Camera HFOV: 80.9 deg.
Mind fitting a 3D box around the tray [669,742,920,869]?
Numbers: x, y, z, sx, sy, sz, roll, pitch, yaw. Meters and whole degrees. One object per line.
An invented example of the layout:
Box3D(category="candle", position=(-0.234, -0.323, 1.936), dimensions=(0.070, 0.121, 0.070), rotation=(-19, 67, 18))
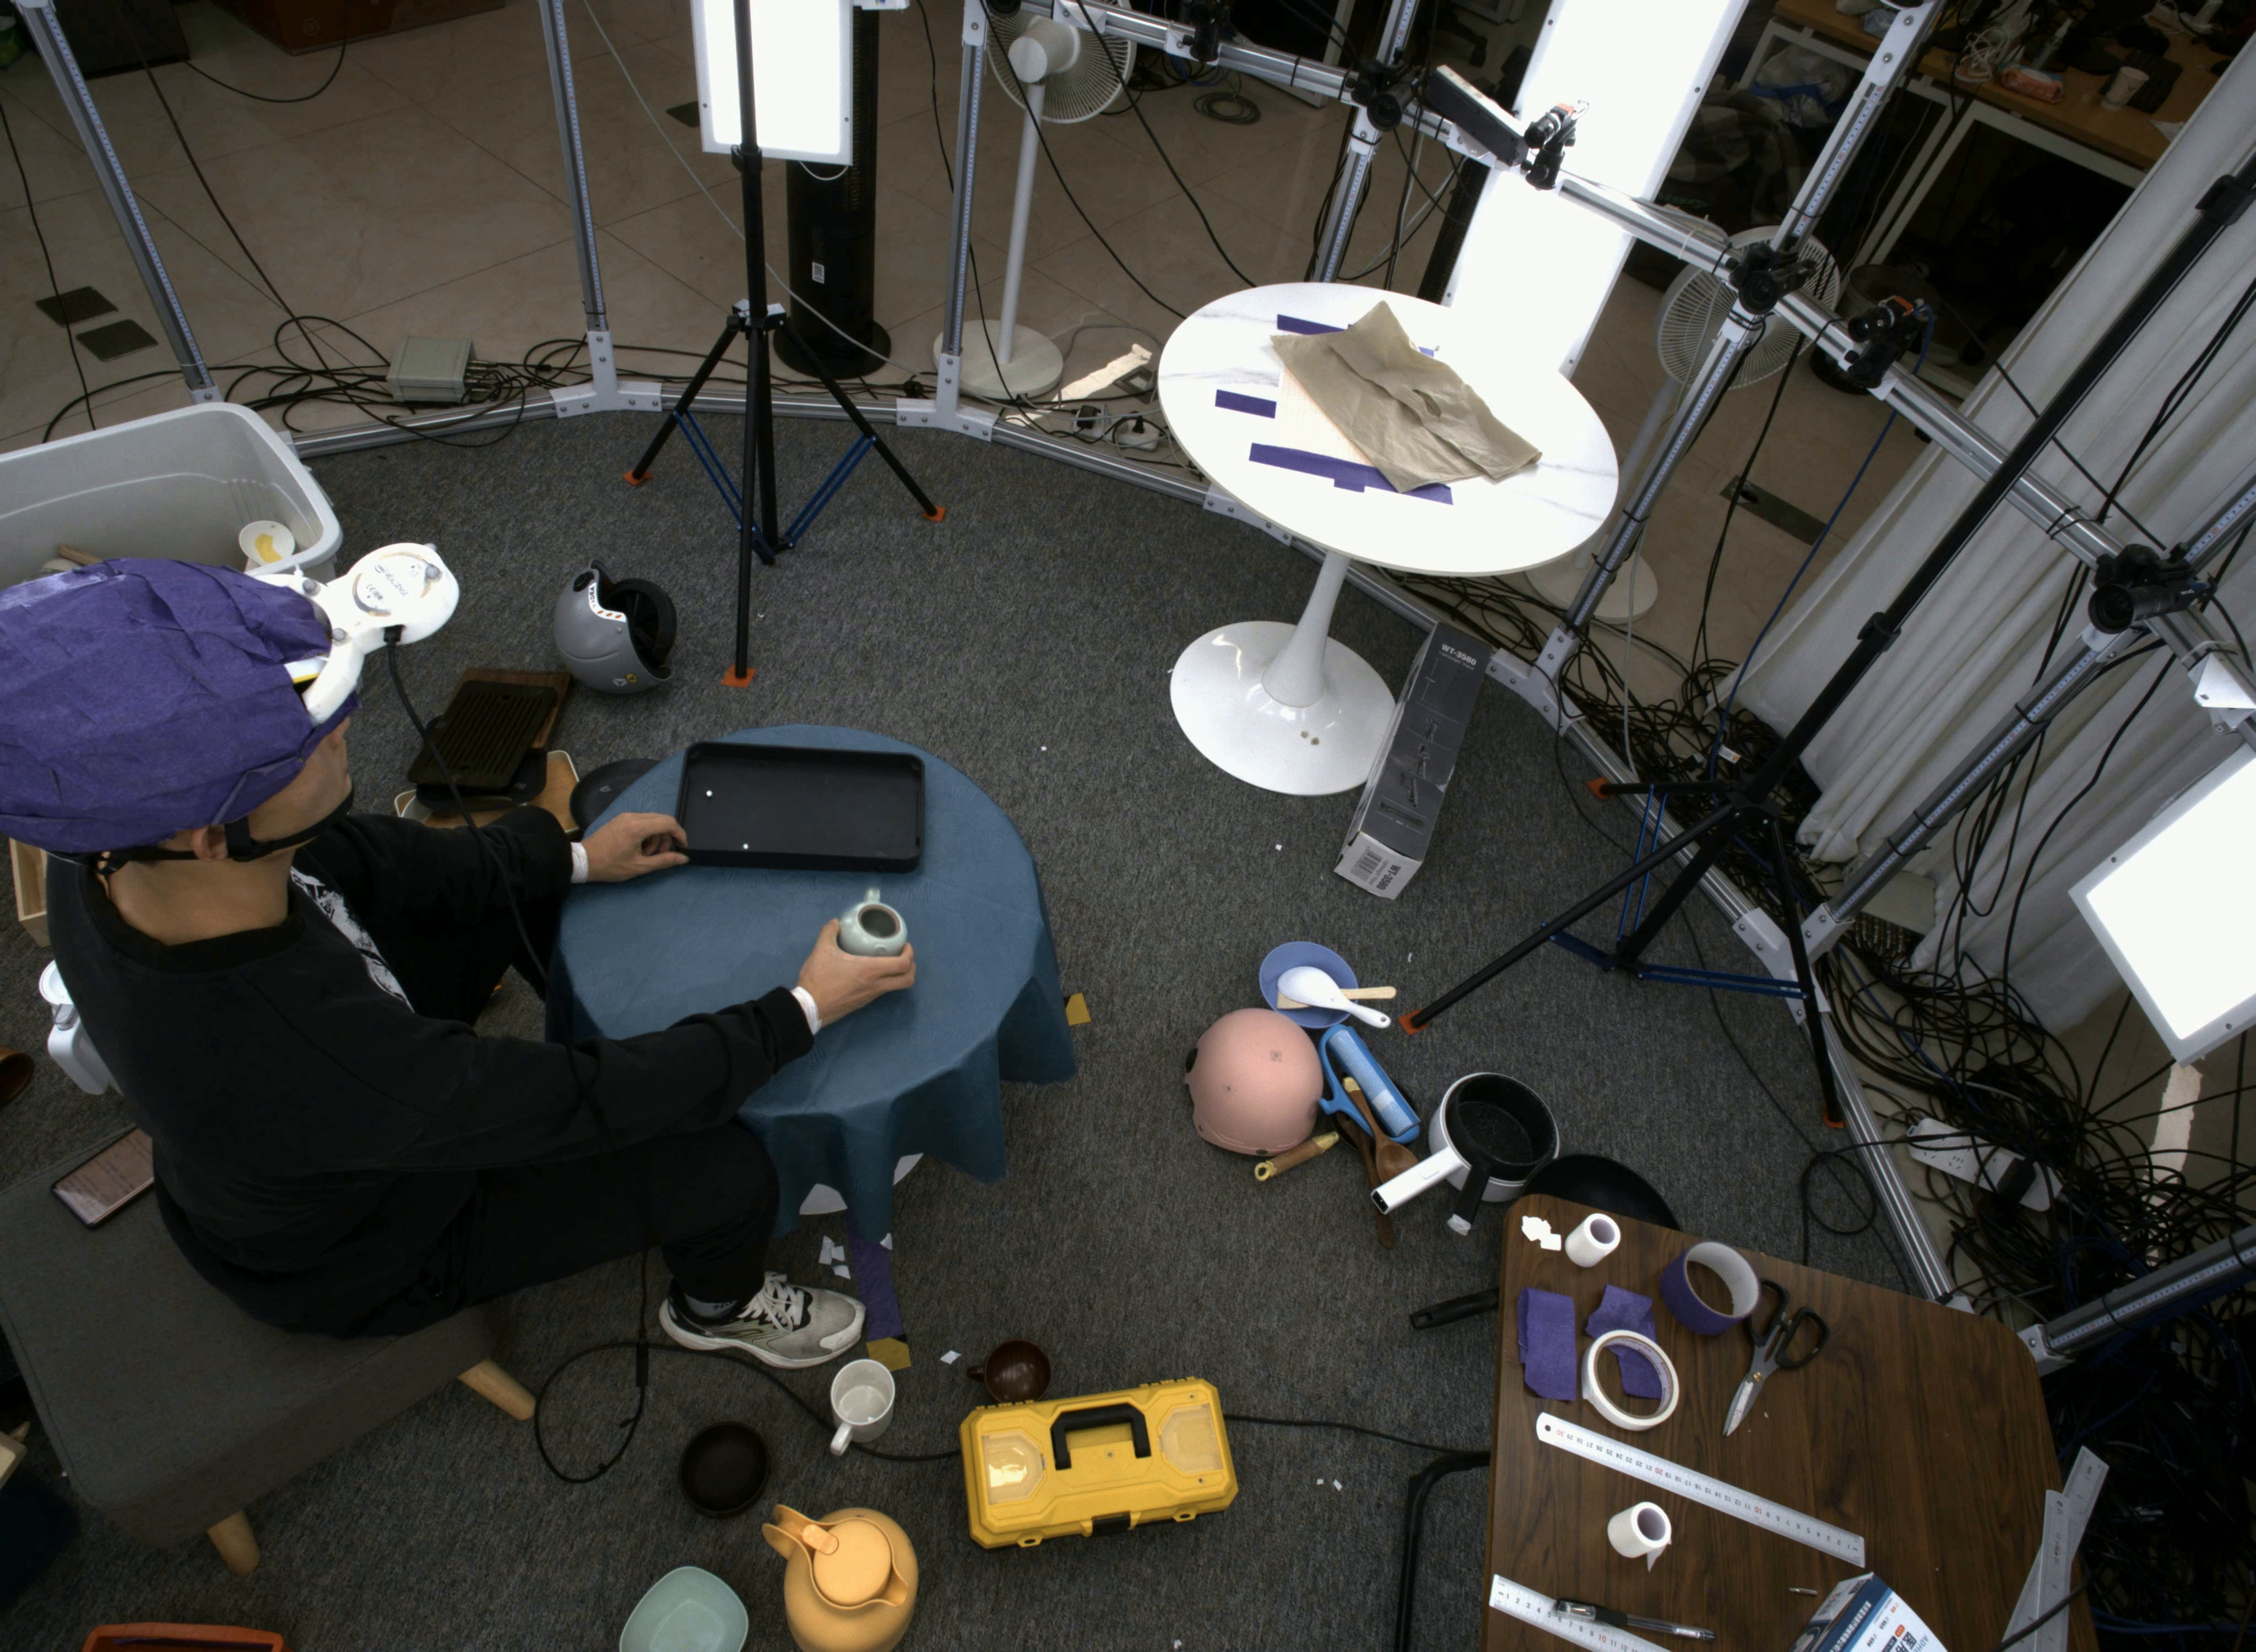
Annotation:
Box3D(category="tray", position=(-0.436, -0.028, 1.712), dimensions=(0.319, 0.038, 0.180), rotation=(1, 53, -15))

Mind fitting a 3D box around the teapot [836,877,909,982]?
Box3D(category="teapot", position=(-0.311, 0.134, 1.580), dimensions=(0.090, 0.075, 0.140), rotation=(9, 42, -26))
